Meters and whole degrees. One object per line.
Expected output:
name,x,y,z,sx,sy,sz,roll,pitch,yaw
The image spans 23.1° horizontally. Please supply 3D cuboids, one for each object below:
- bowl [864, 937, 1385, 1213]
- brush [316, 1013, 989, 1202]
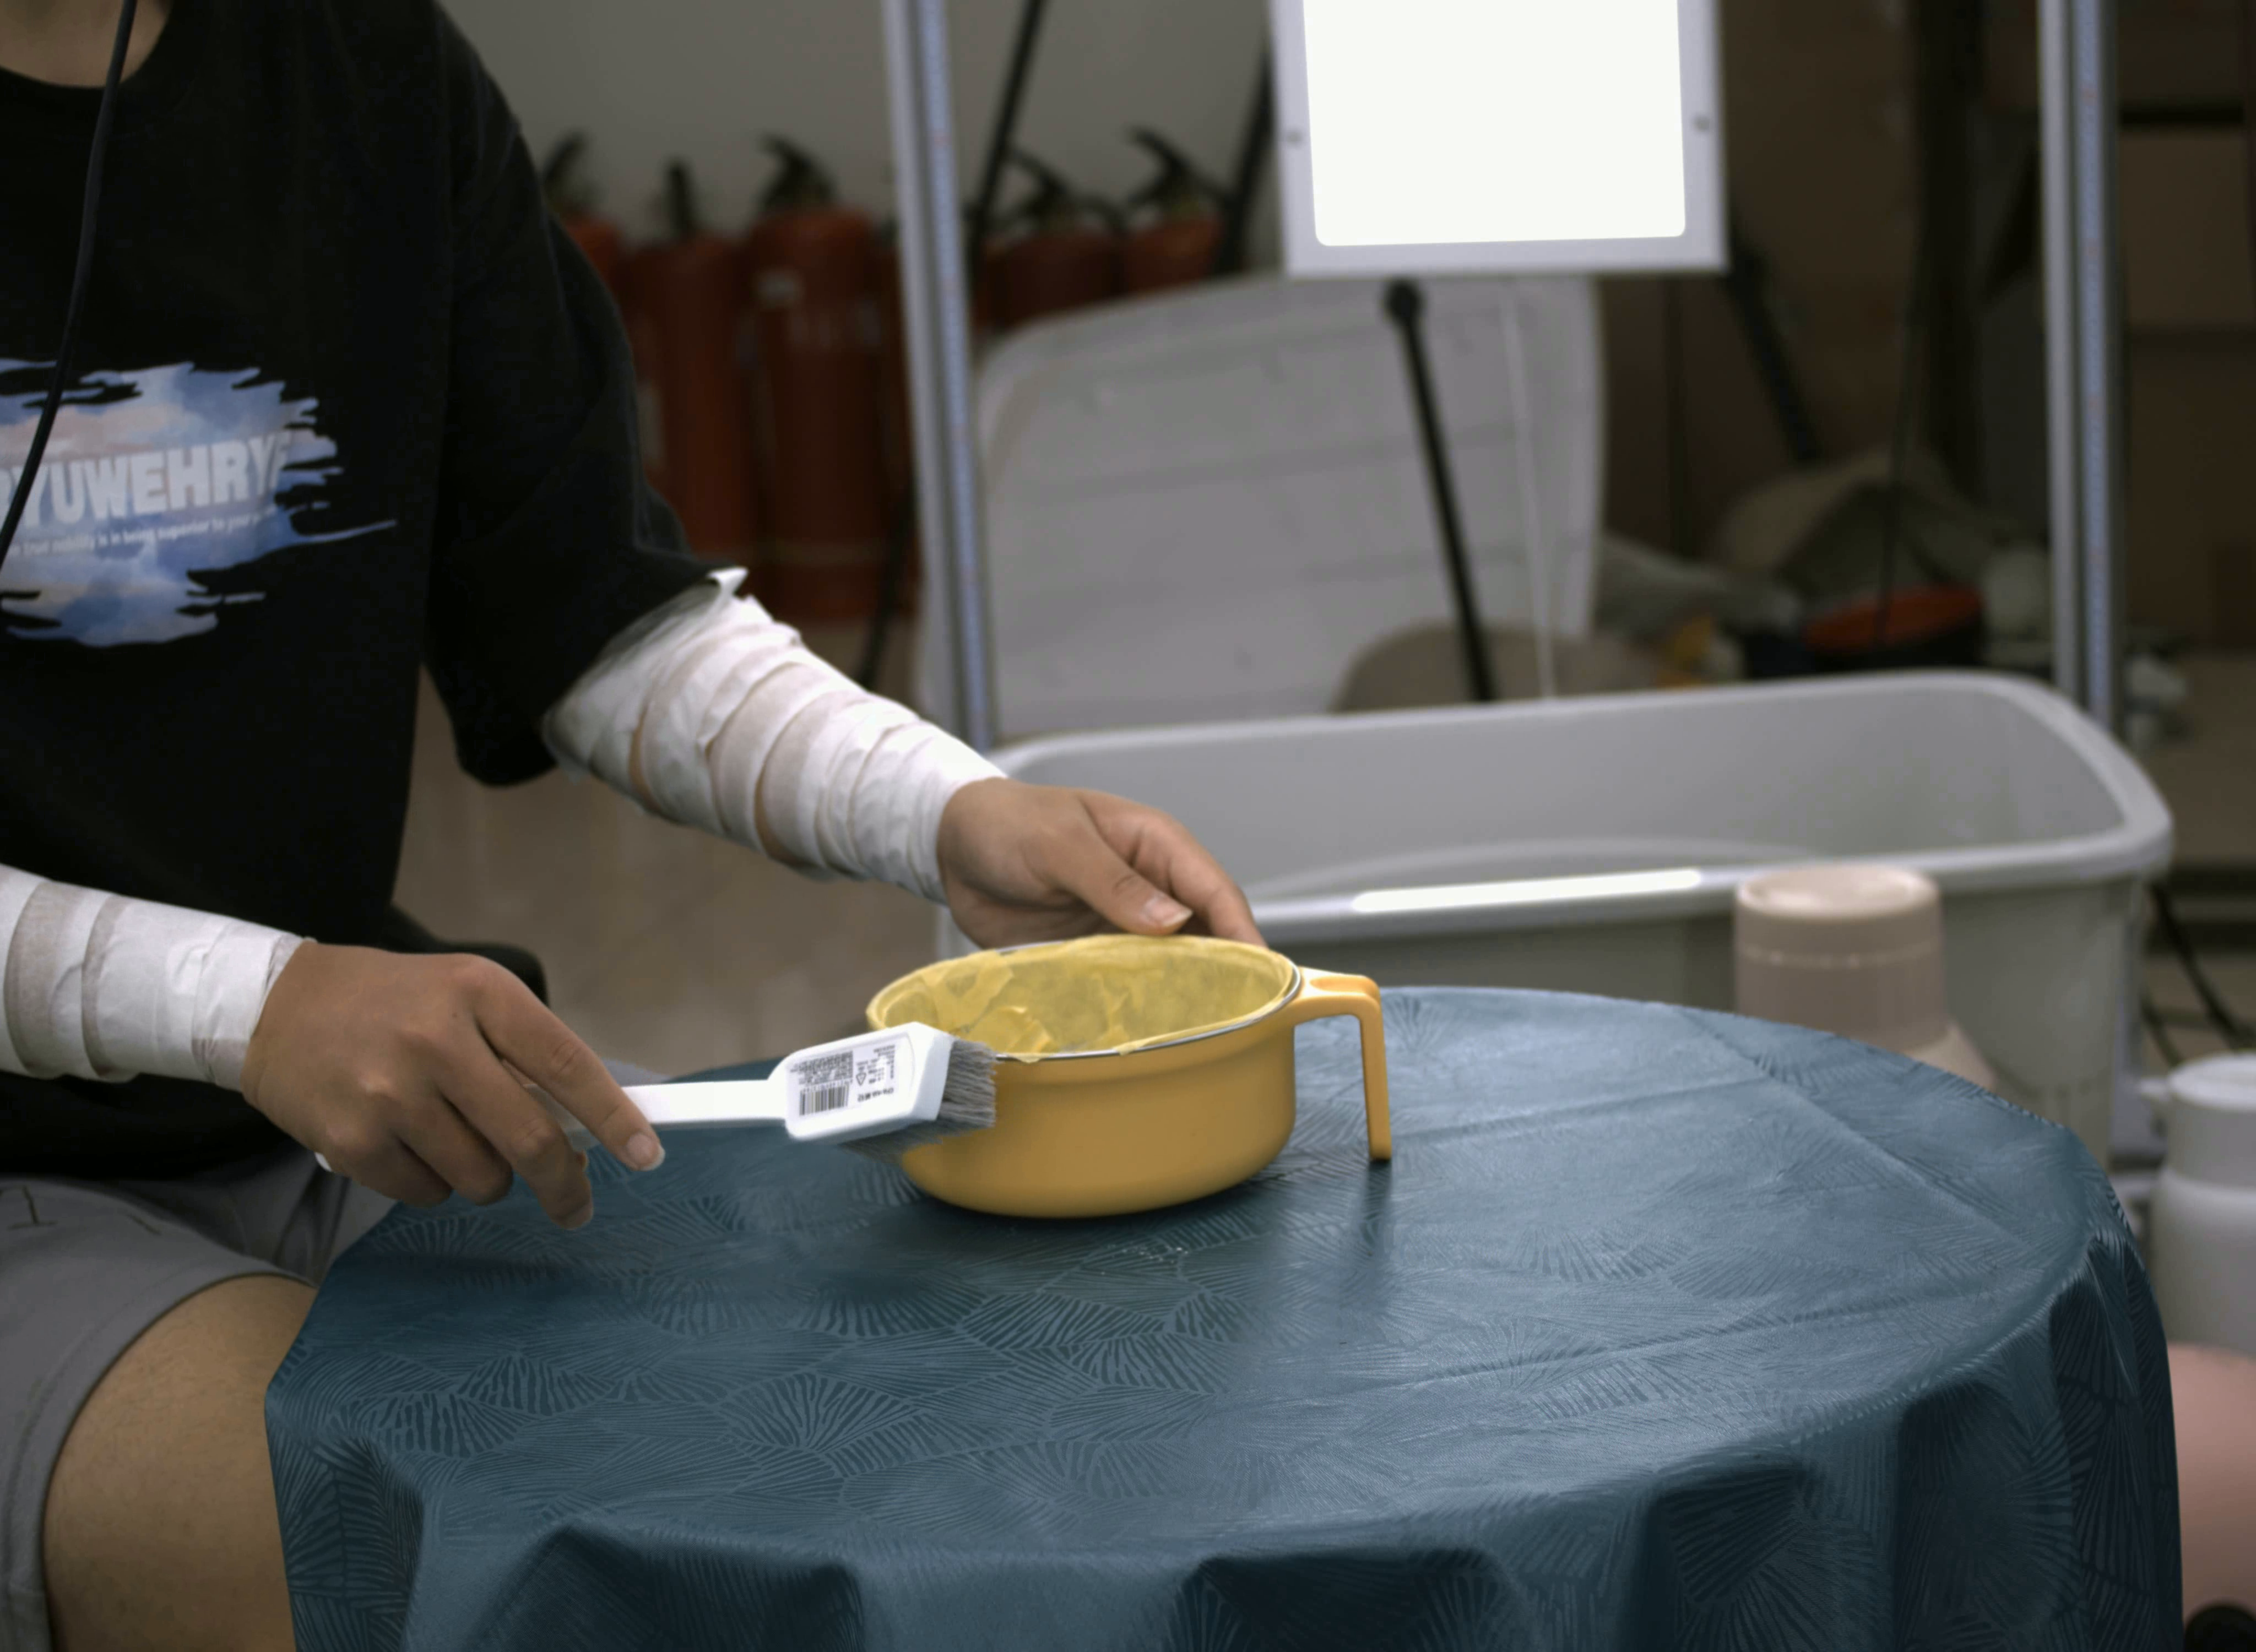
bowl,0.000,0.088,1.912,0.179,0.074,0.152,-4,9,2
brush,-0.159,0.102,1.861,0.247,0.034,0.049,-12,-21,24
